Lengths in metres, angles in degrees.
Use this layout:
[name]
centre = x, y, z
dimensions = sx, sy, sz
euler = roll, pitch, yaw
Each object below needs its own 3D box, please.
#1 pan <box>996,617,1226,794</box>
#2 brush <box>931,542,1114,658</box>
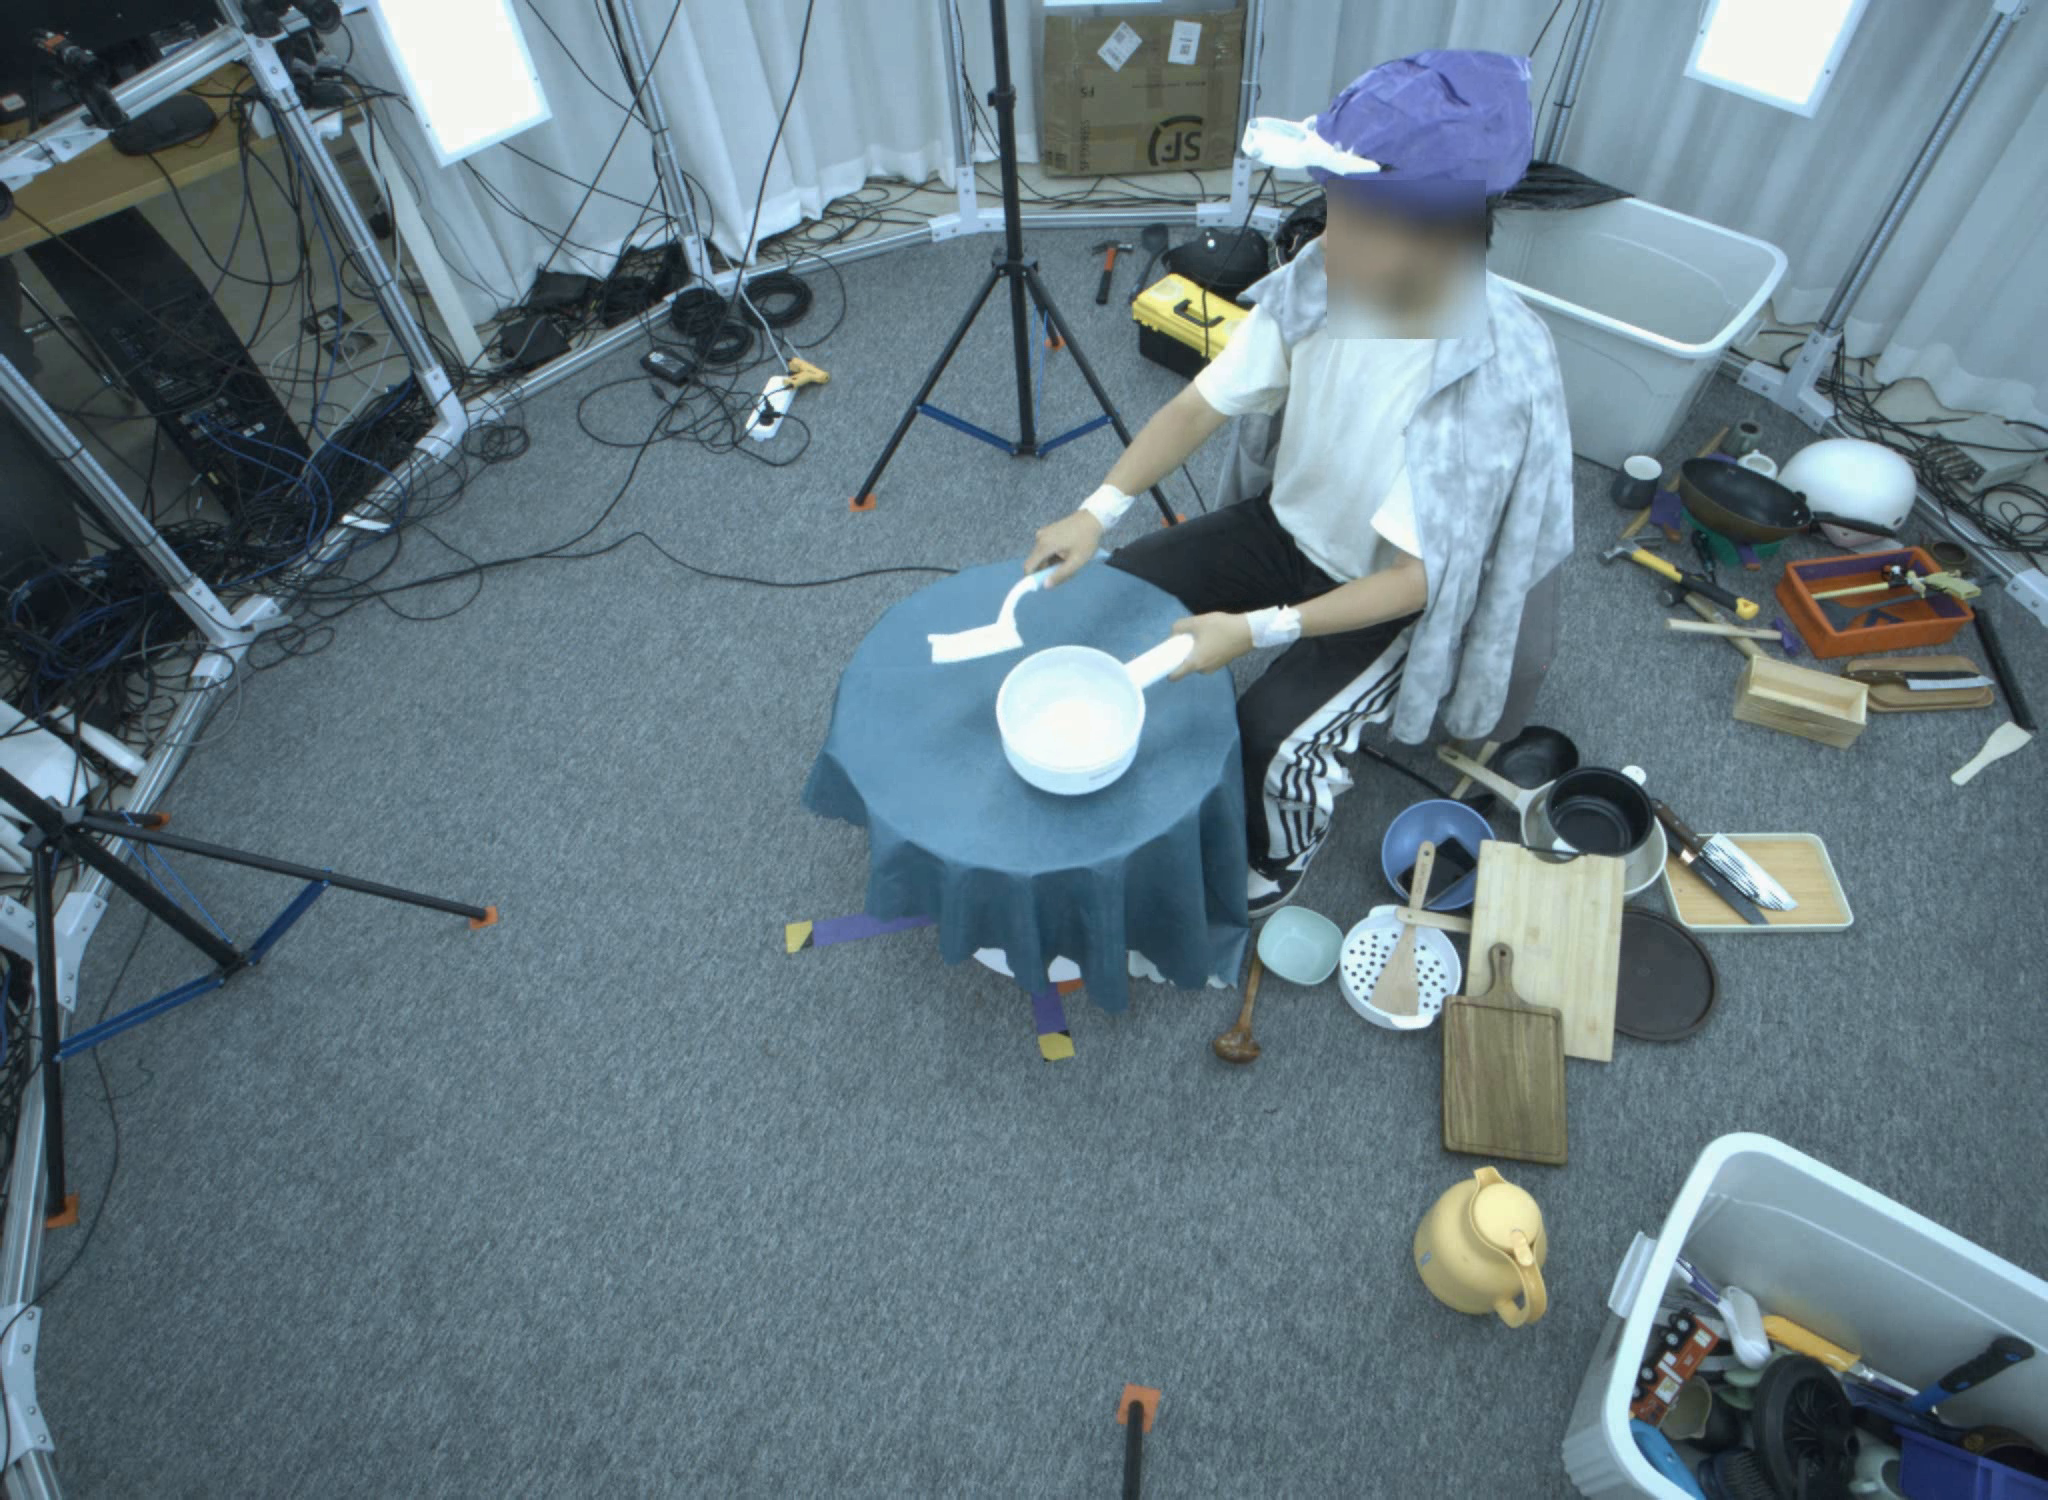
[pan]
centre = 0.128, -0.074, 1.739
dimensions = 0.357, 0.103, 0.198
euler = -30, 65, -16
[brush]
centre = 0.014, -0.202, 1.797
dimensions = 0.328, 0.085, 0.081
euler = -29, 49, -22
